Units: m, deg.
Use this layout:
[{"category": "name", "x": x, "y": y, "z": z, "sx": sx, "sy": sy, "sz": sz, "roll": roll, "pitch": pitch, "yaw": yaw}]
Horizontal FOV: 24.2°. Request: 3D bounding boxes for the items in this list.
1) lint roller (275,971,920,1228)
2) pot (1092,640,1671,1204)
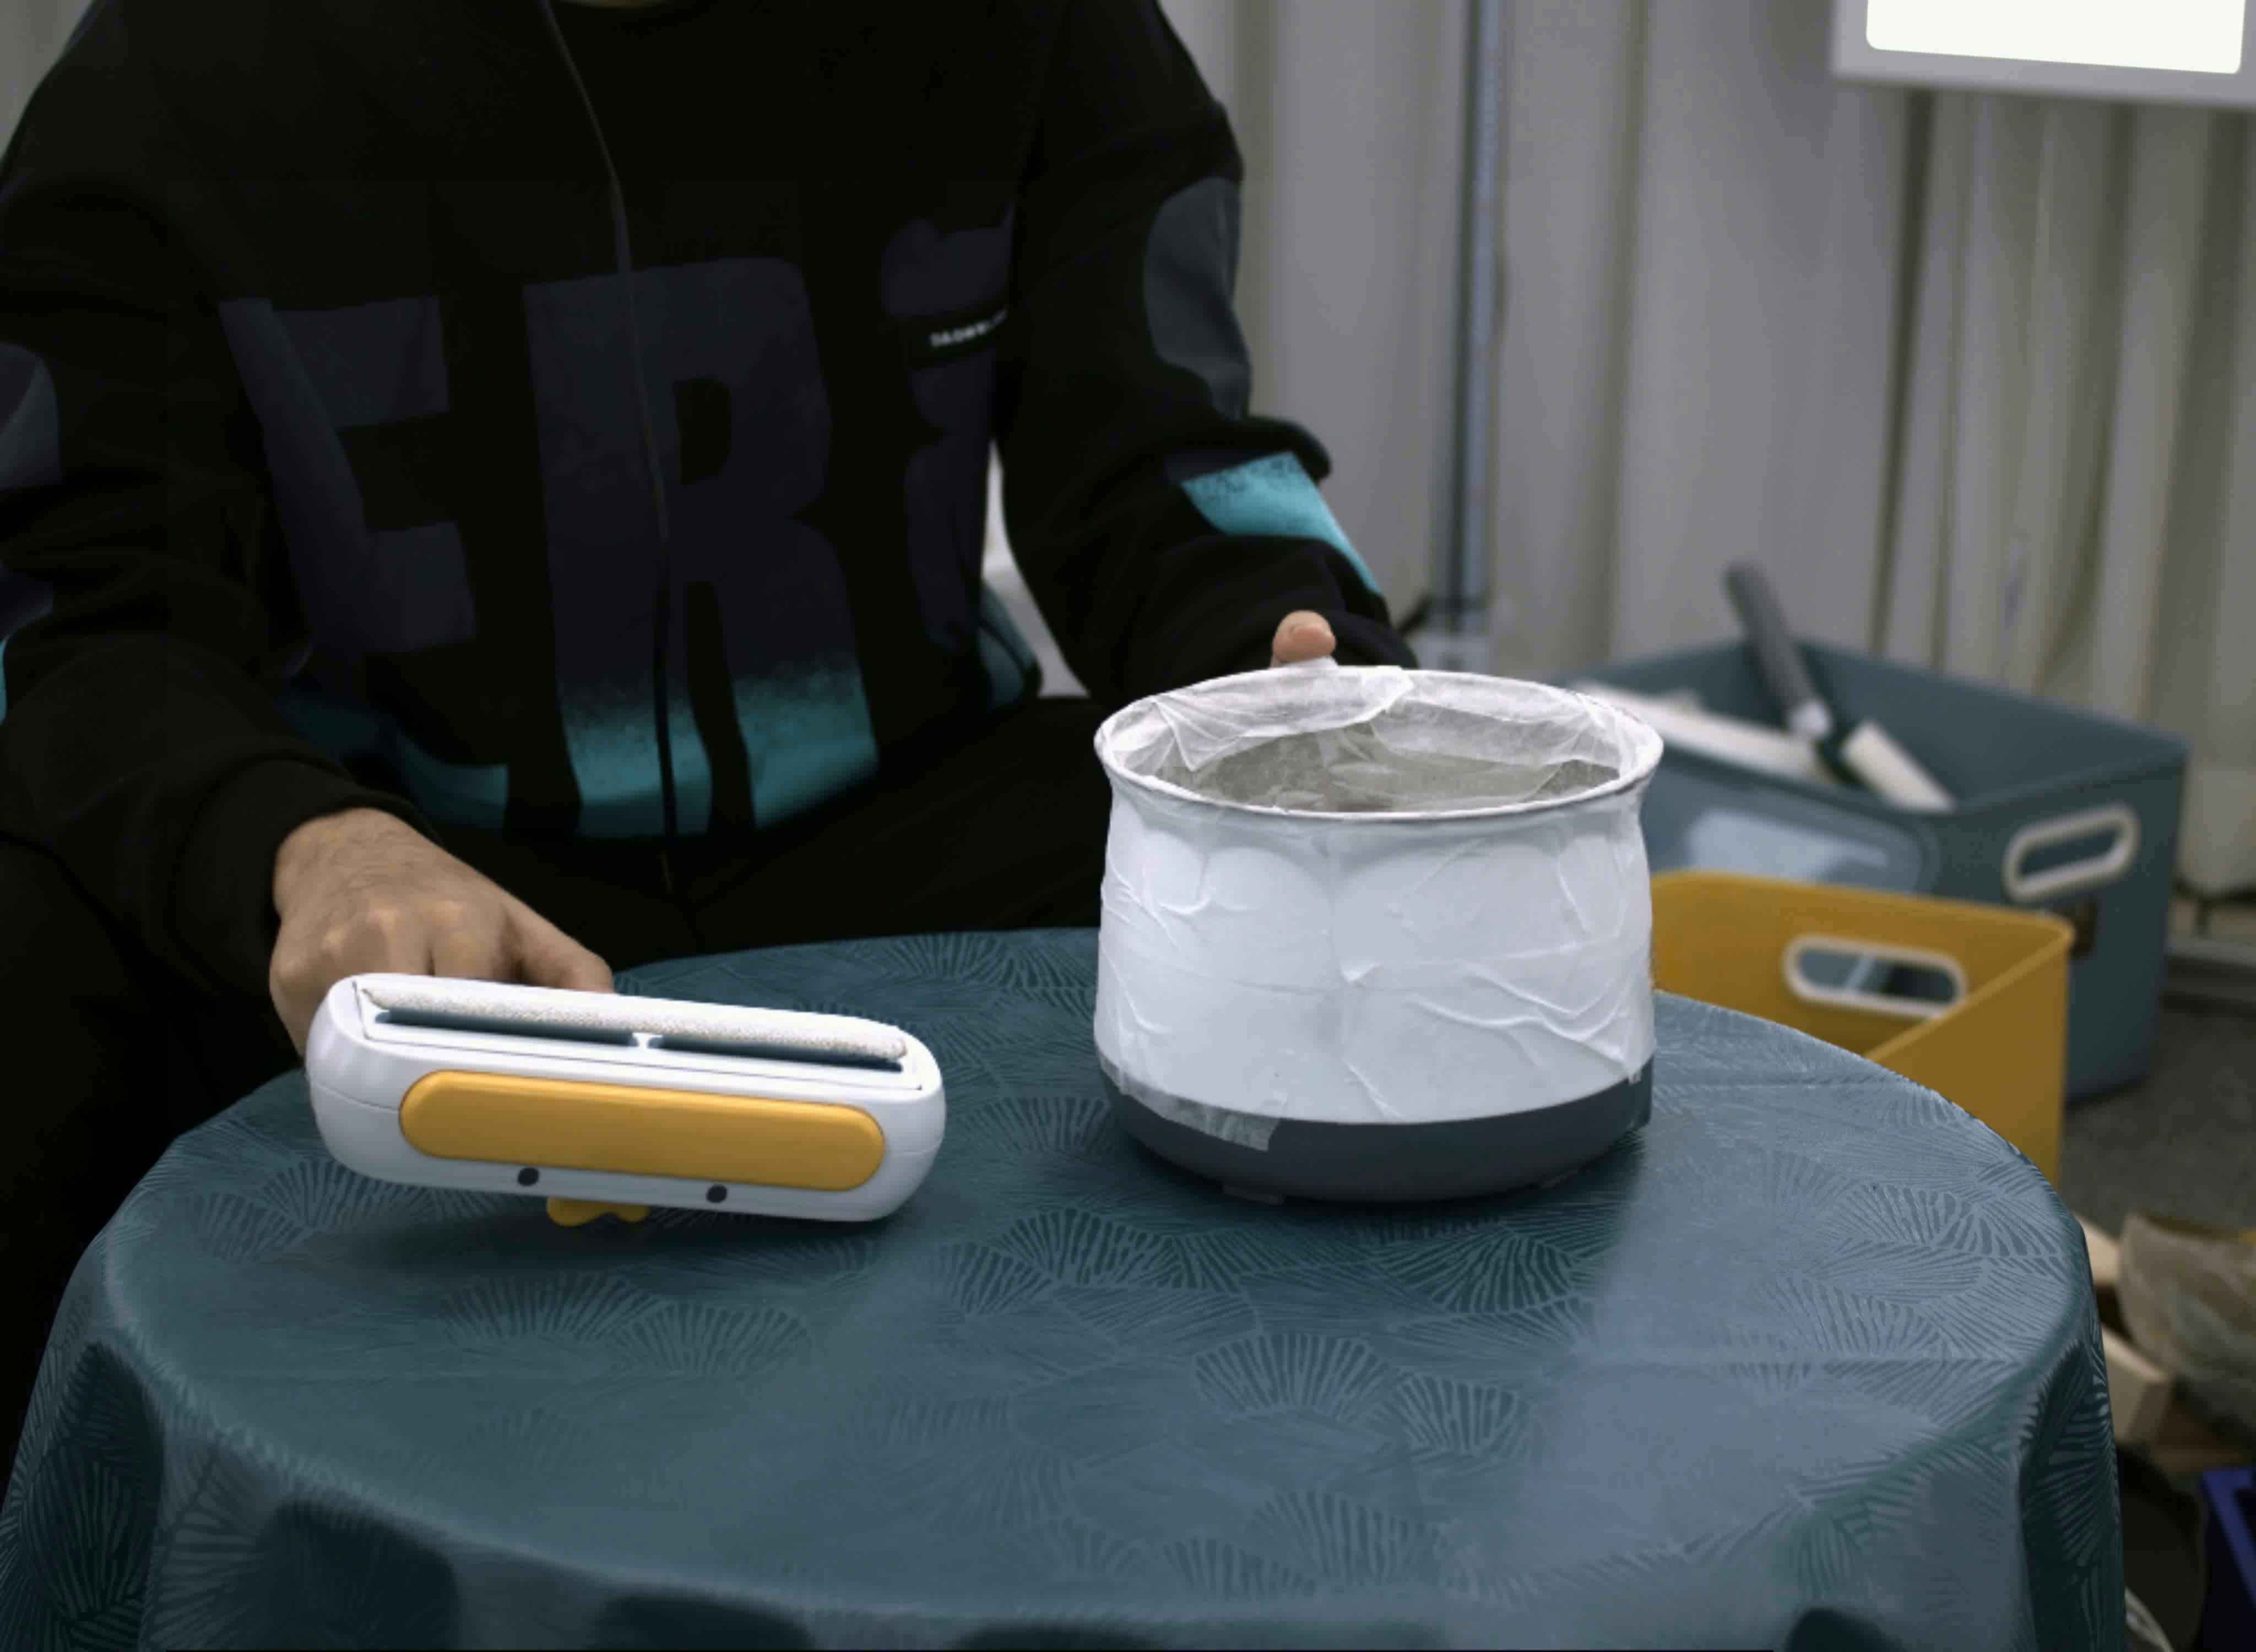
[{"category": "lint roller", "x": -0.169, "y": 0.074, "z": 1.627, "sx": 0.193, "sy": 0.075, "sz": 0.191, "roll": 2, "pitch": 13, "yaw": -12}, {"category": "pot", "x": 0.072, "y": 0.025, "z": 1.672, "sx": 0.179, "sy": 0.138, "sz": 0.231, "roll": -1, "pitch": 17, "yaw": -12}]
